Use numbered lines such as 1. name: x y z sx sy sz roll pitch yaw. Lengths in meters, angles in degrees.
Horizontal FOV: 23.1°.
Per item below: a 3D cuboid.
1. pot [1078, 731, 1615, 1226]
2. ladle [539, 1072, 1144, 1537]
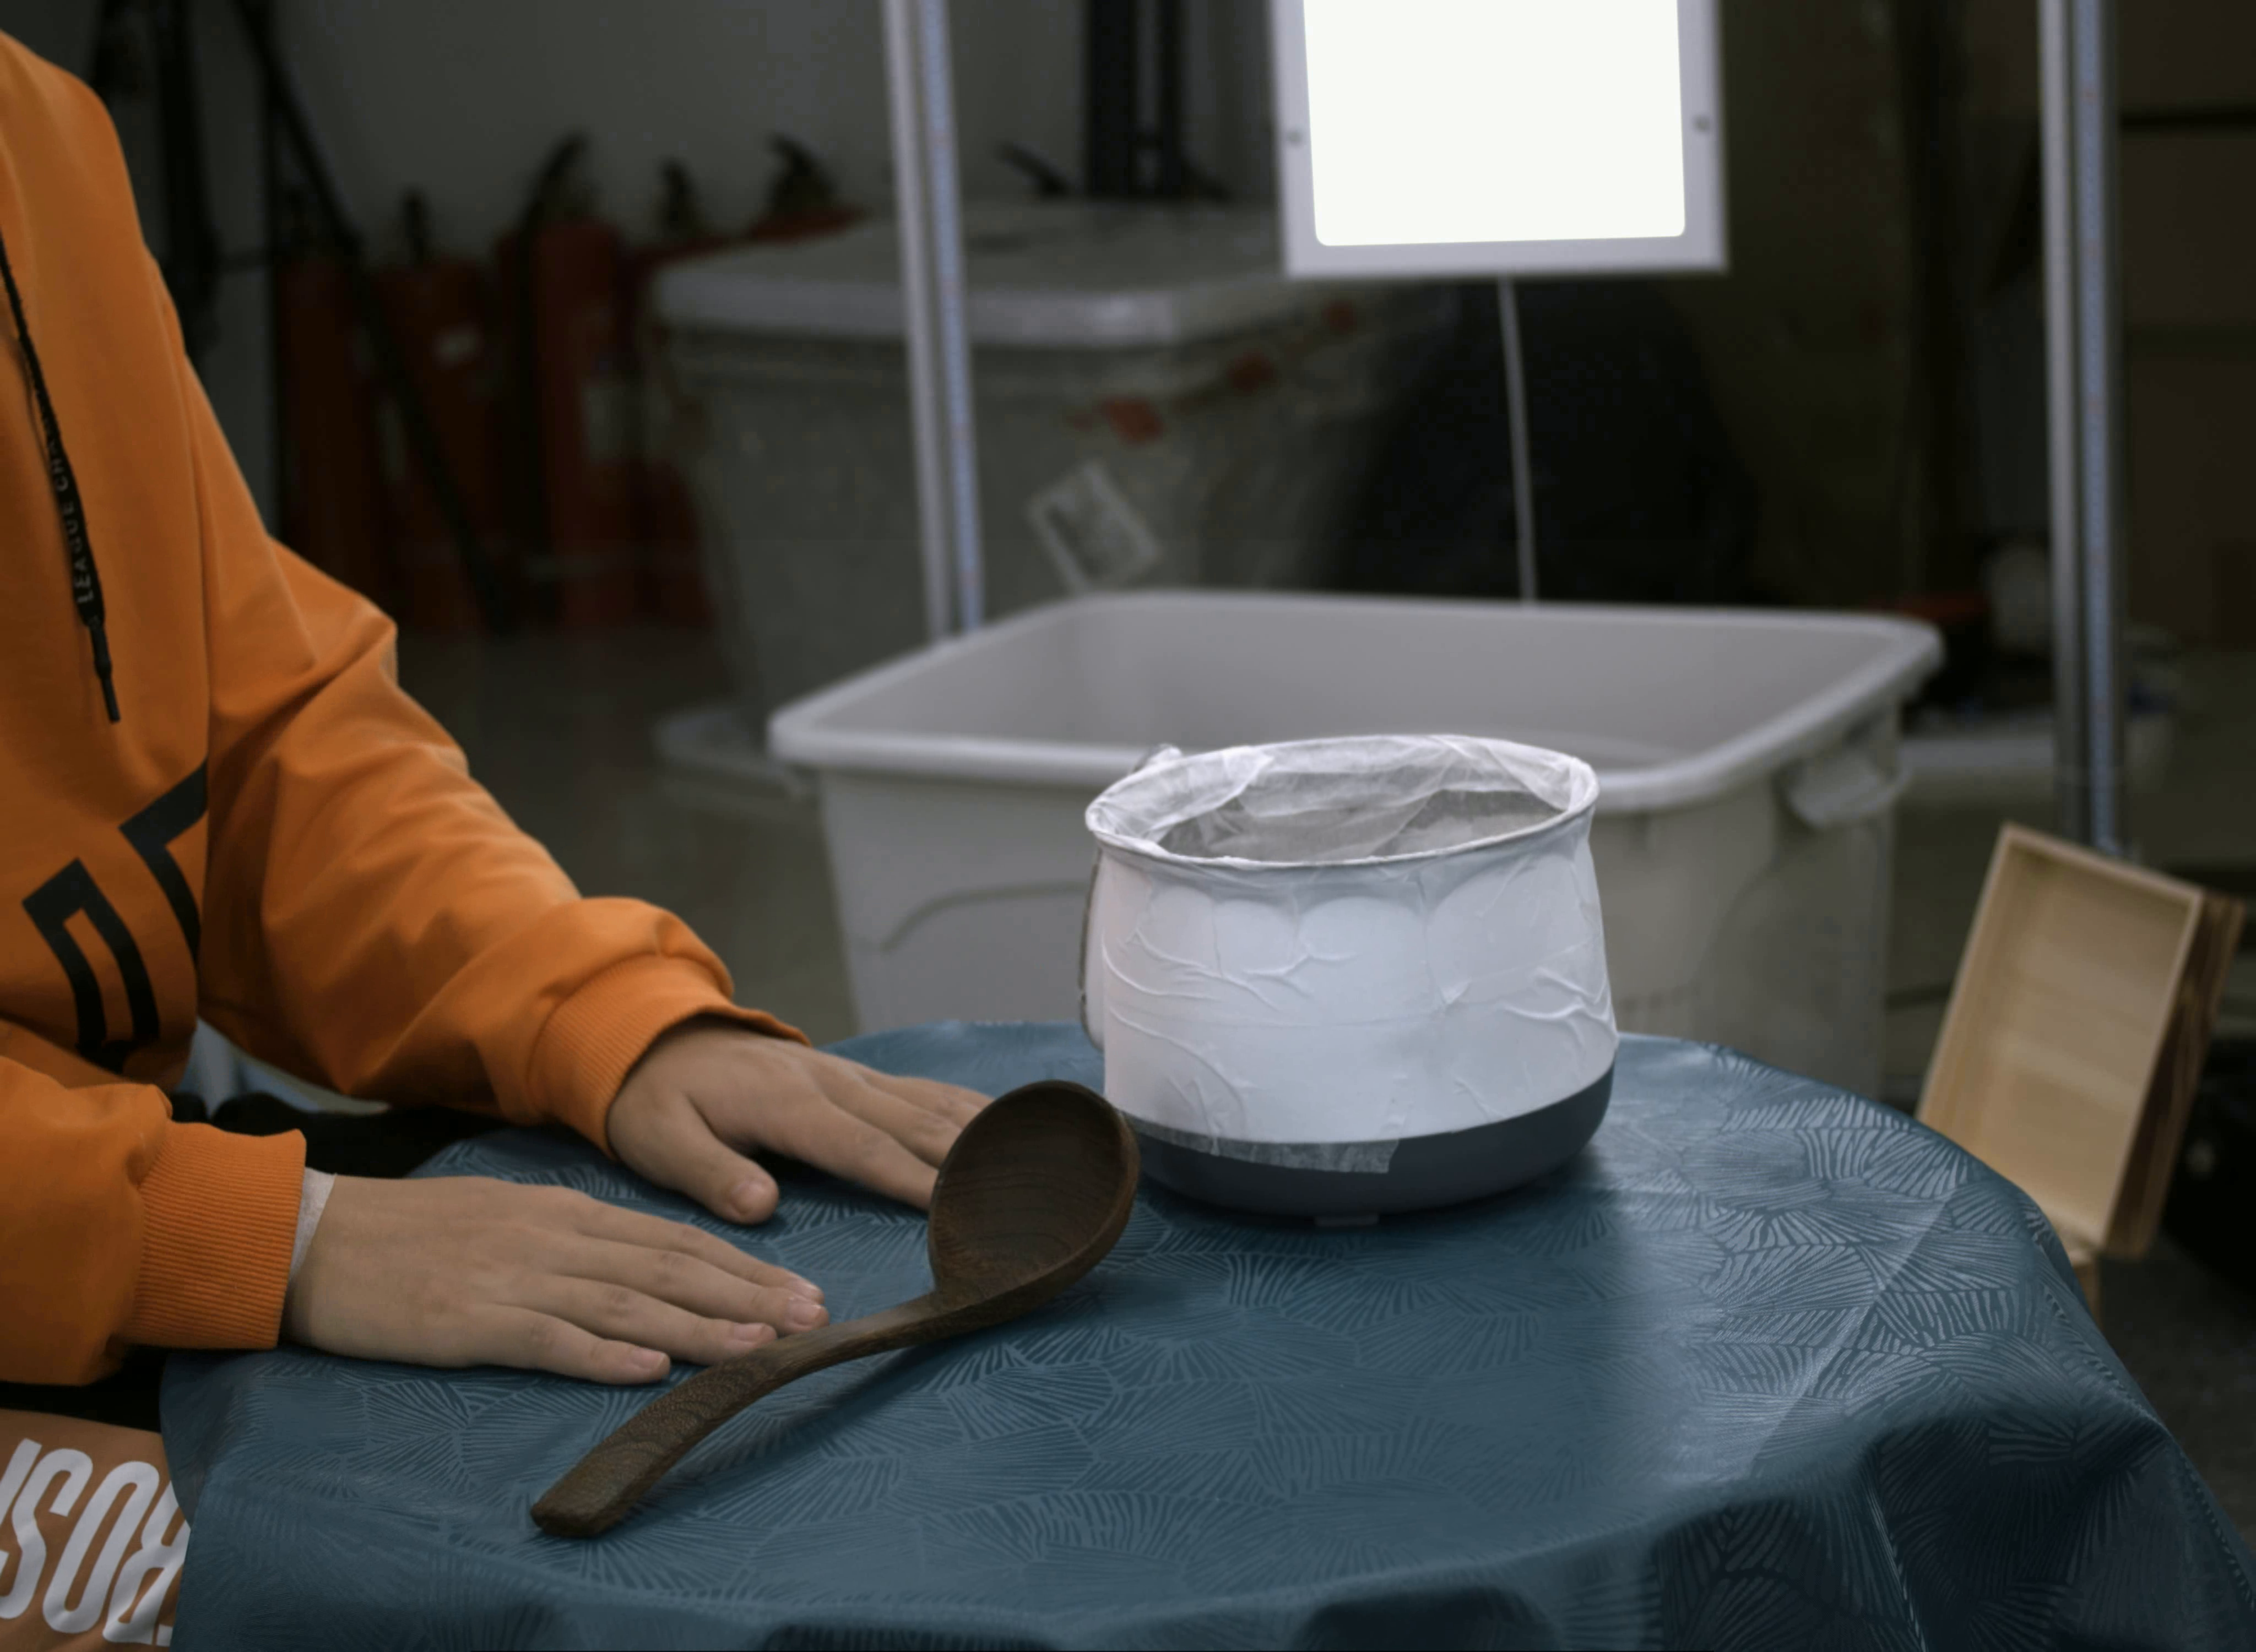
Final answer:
1. pot: 0.061 0.047 1.910 0.174 0.137 0.238 -14 17 -36
2. ladle: -0.090 0.144 1.715 0.077 0.071 0.267 2 15 37
